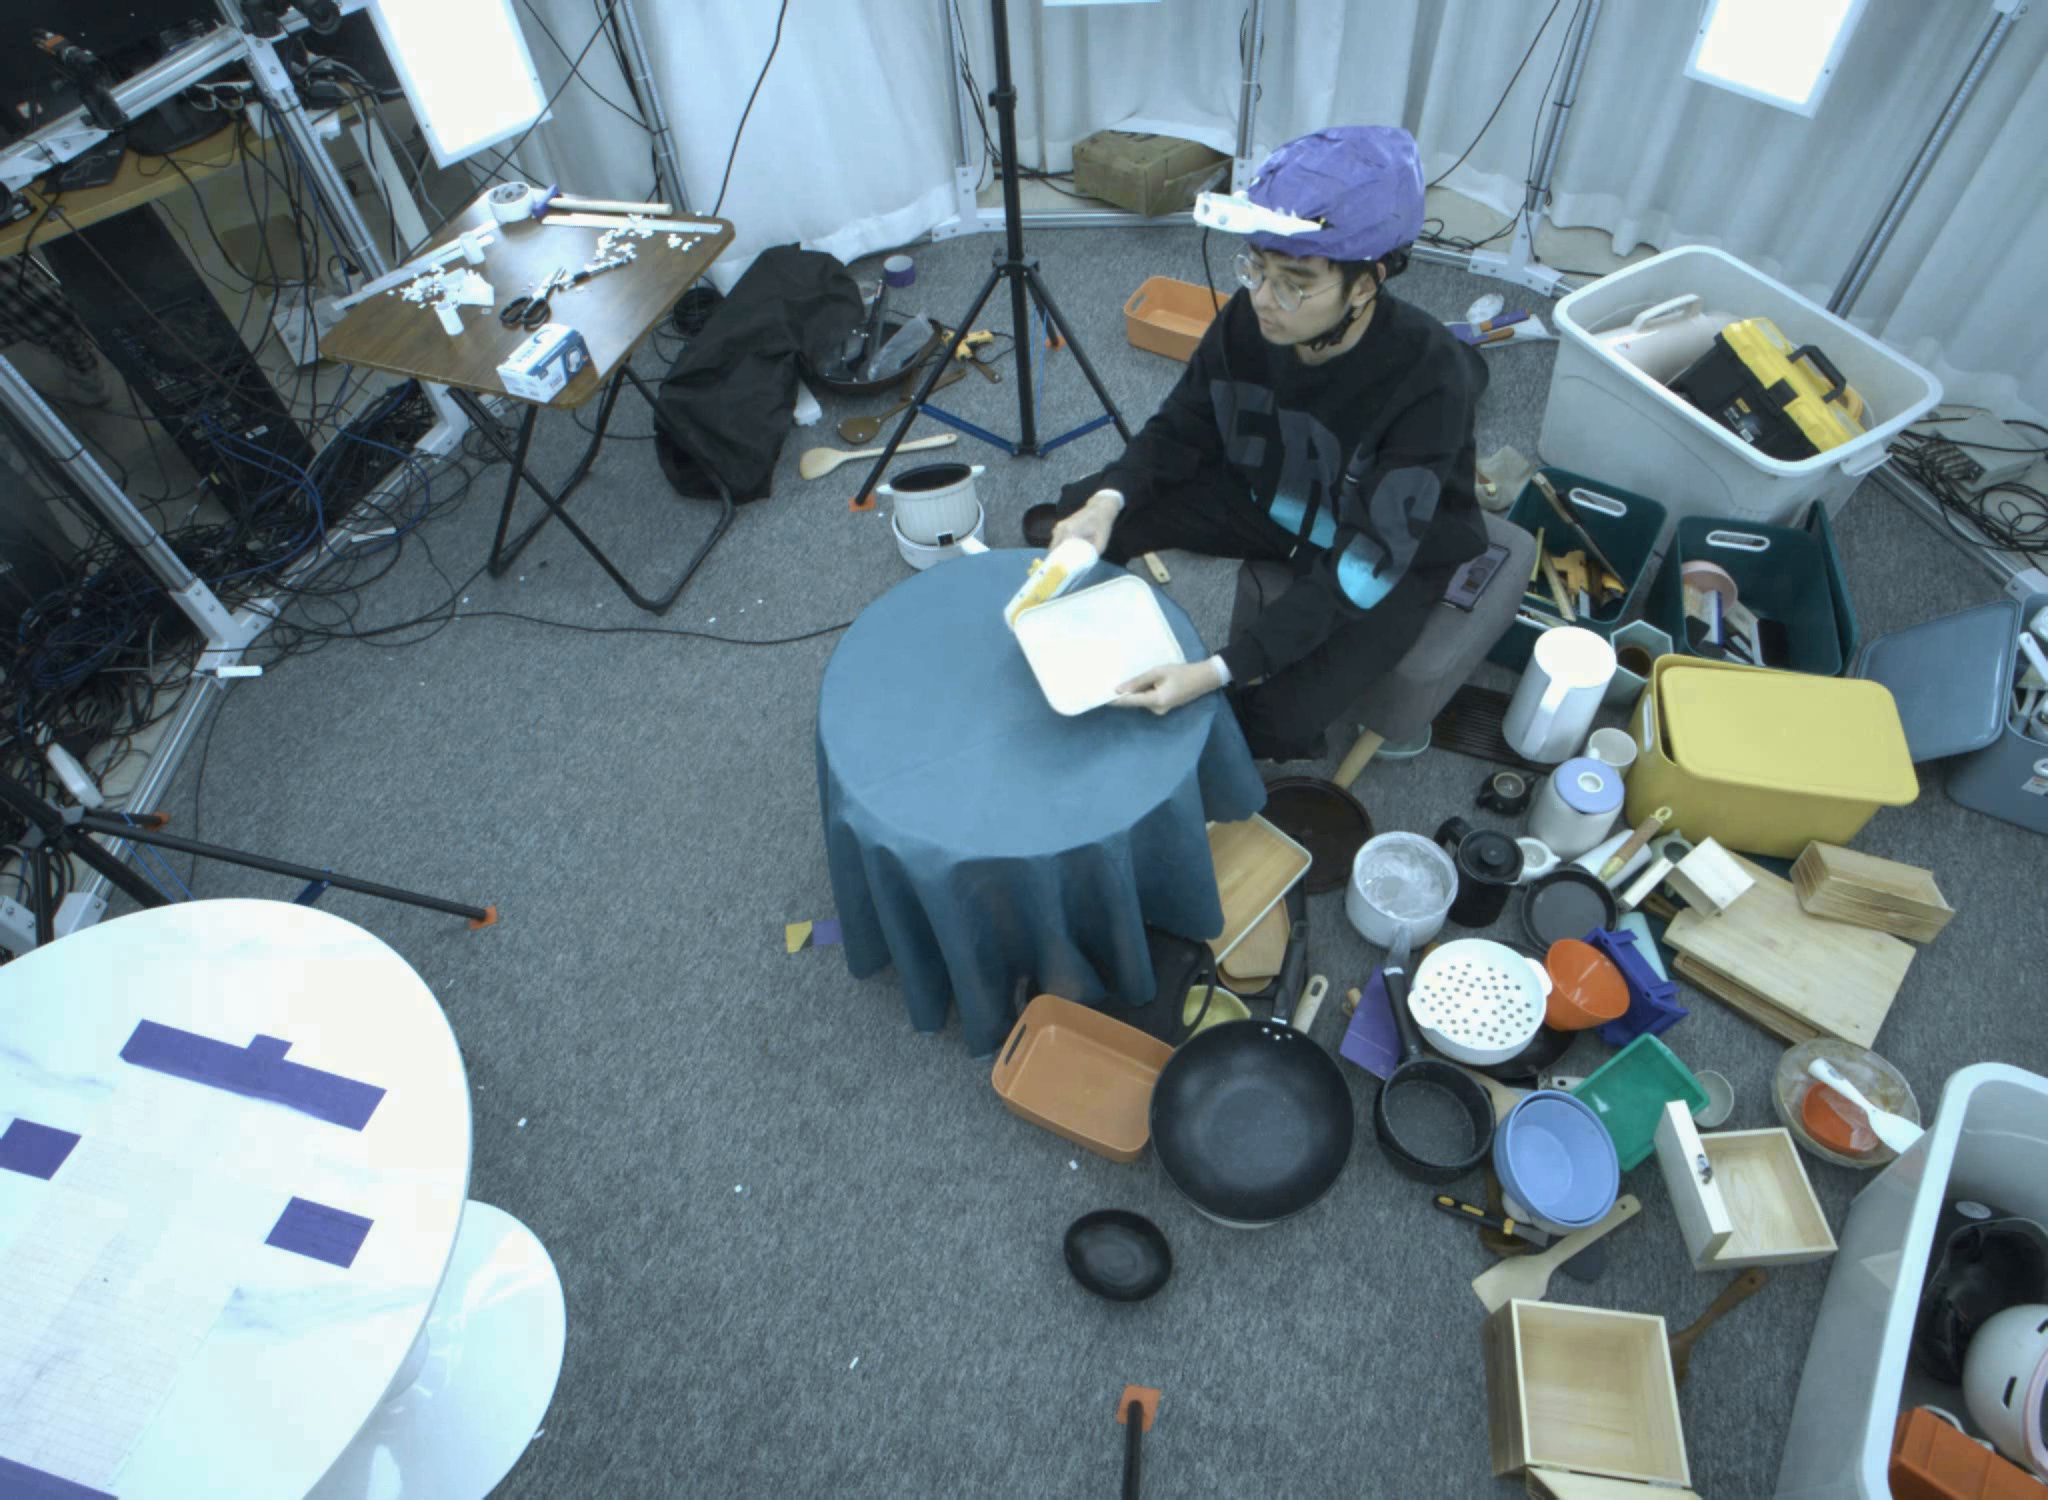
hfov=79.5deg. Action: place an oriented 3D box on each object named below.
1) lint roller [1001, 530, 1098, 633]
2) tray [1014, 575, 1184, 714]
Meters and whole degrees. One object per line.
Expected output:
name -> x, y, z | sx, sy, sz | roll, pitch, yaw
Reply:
lint roller -> 0.056, -0.274, 1.838 | 0.074, 0.191, 0.194 | 43, 40, 4
tray -> 0.109, -0.154, 1.787 | 0.243, 0.017, 0.170 | -21, 82, -27
